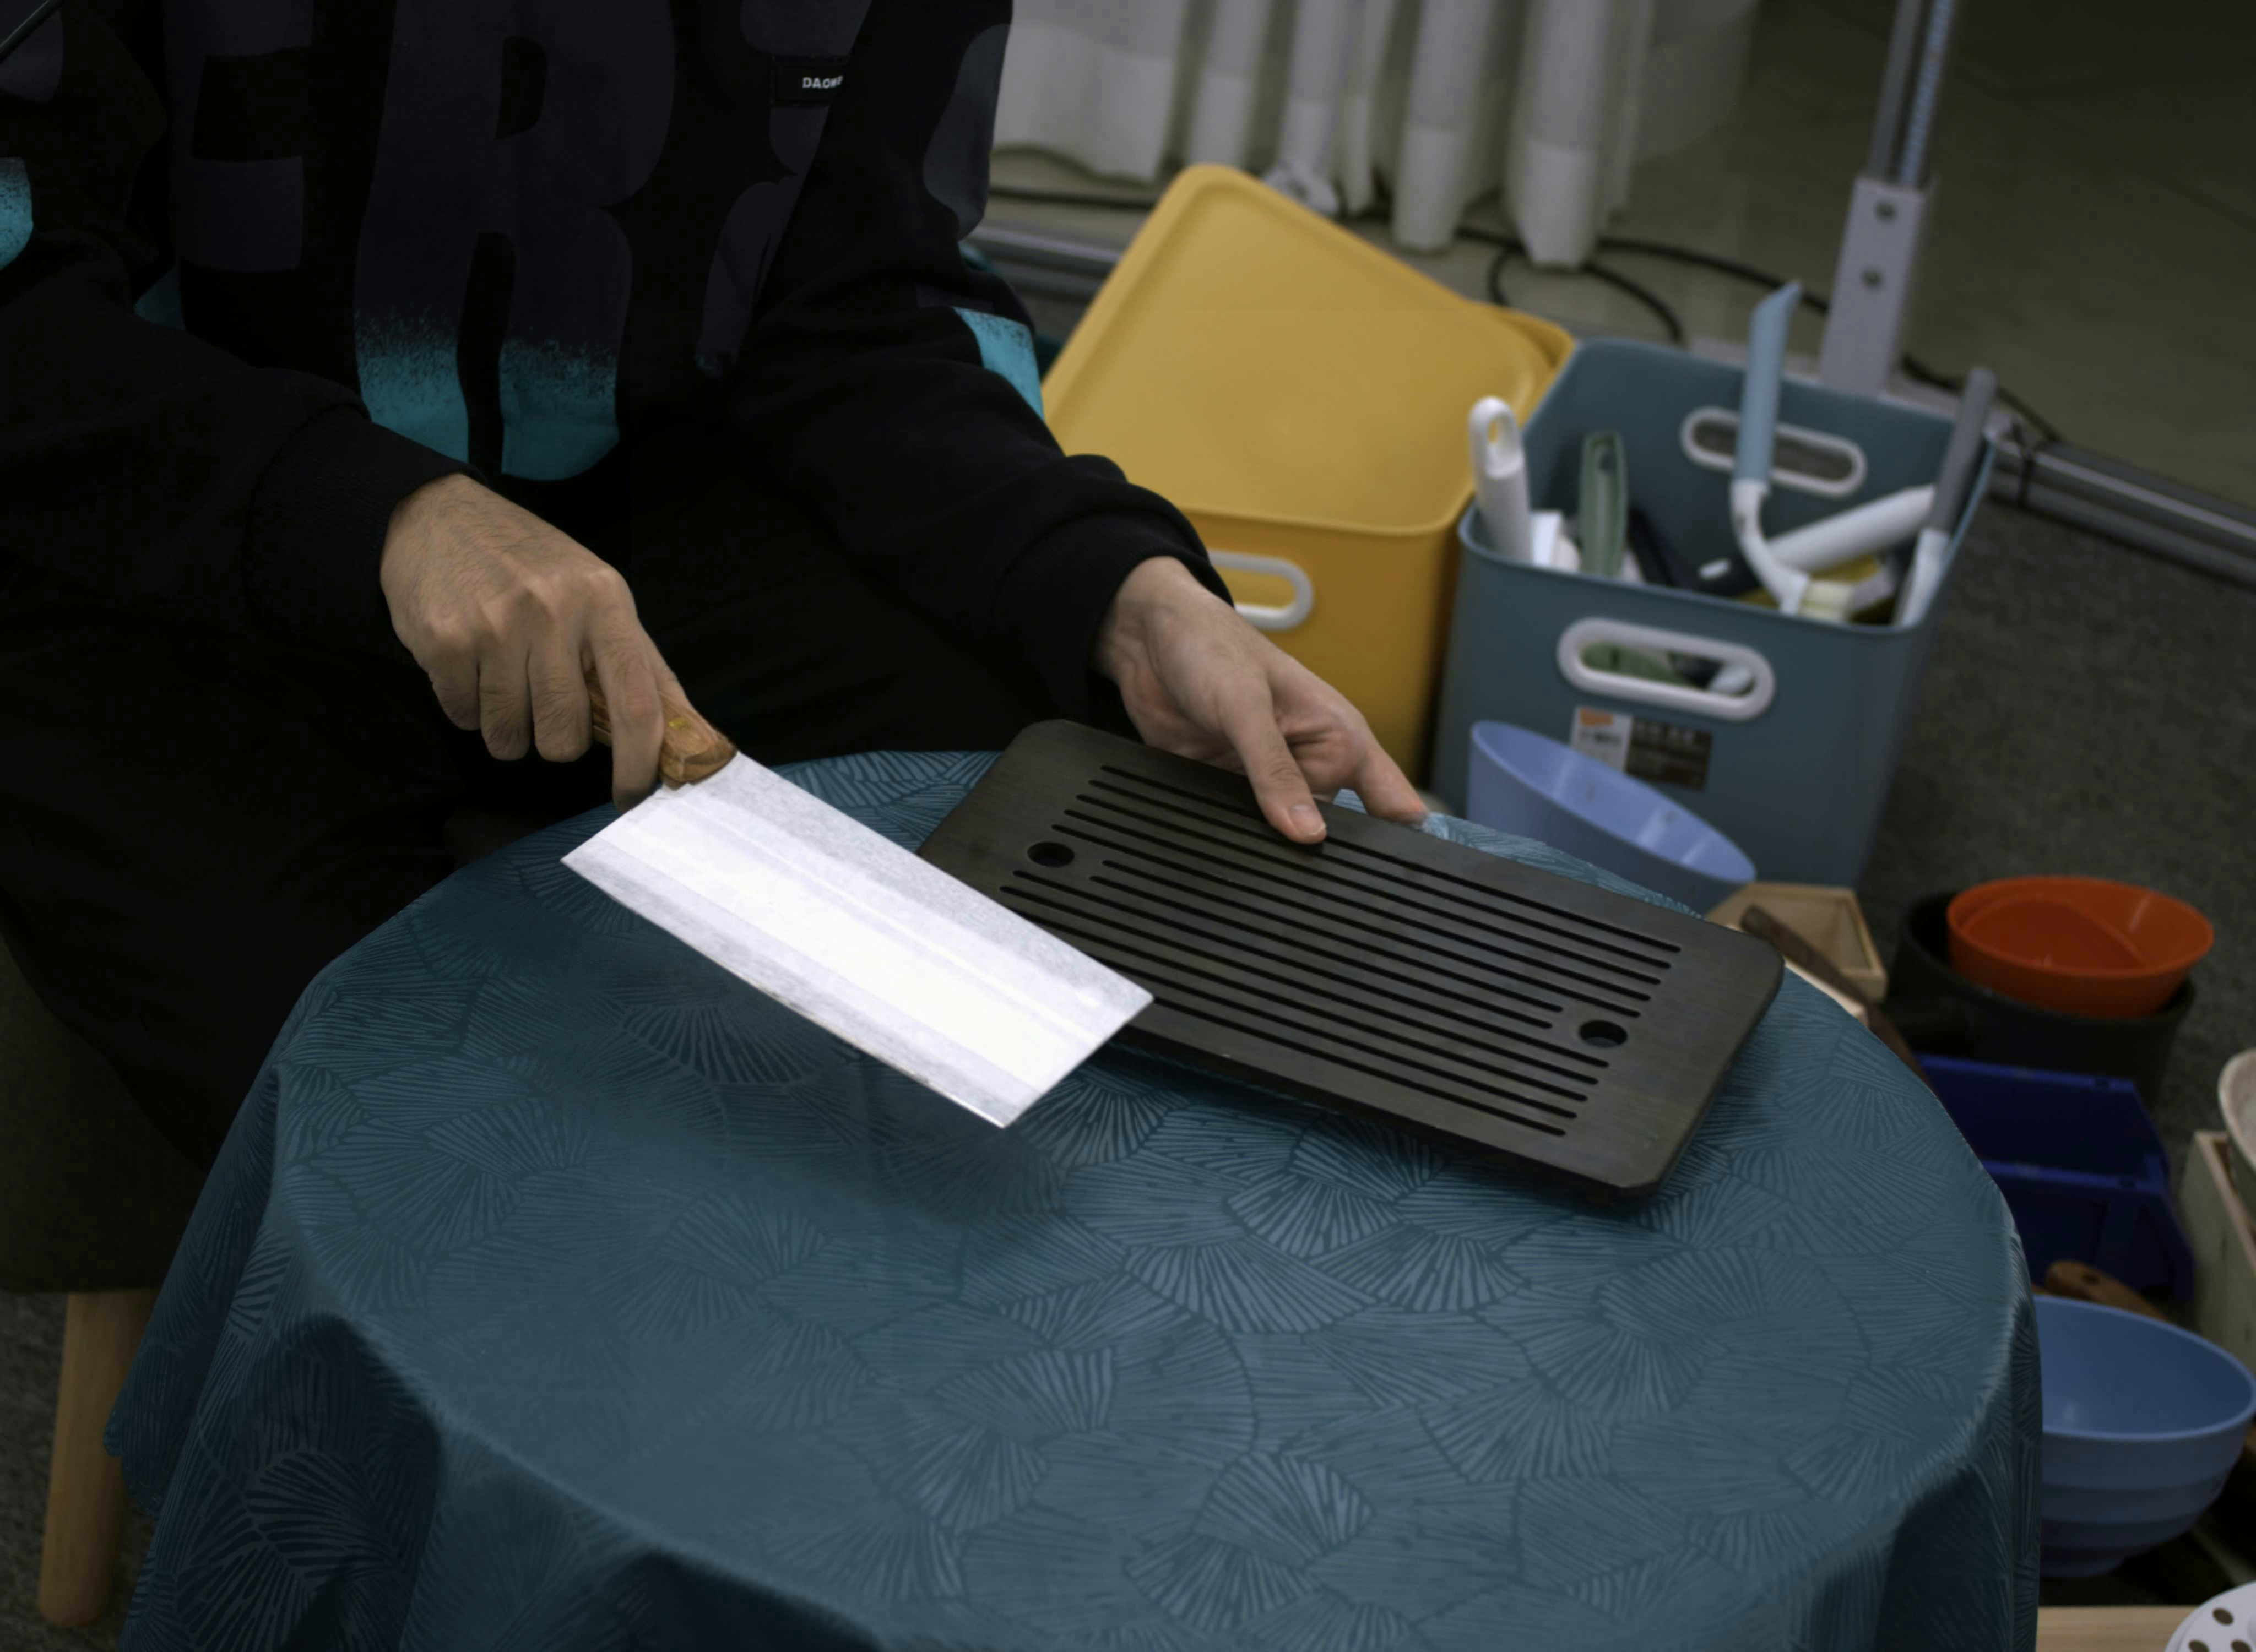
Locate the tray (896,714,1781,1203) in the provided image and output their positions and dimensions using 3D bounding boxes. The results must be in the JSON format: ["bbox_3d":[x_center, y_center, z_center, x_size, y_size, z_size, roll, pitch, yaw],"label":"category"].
[{"bbox_3d":[0.070,0.046,1.922,0.307,0.018,0.170,18,35,17],"label":"tray"}]

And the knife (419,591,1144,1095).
[{"bbox_3d":[-0.138,0.008,1.841,0.307,0.021,0.093,30,44,21],"label":"knife"}]
